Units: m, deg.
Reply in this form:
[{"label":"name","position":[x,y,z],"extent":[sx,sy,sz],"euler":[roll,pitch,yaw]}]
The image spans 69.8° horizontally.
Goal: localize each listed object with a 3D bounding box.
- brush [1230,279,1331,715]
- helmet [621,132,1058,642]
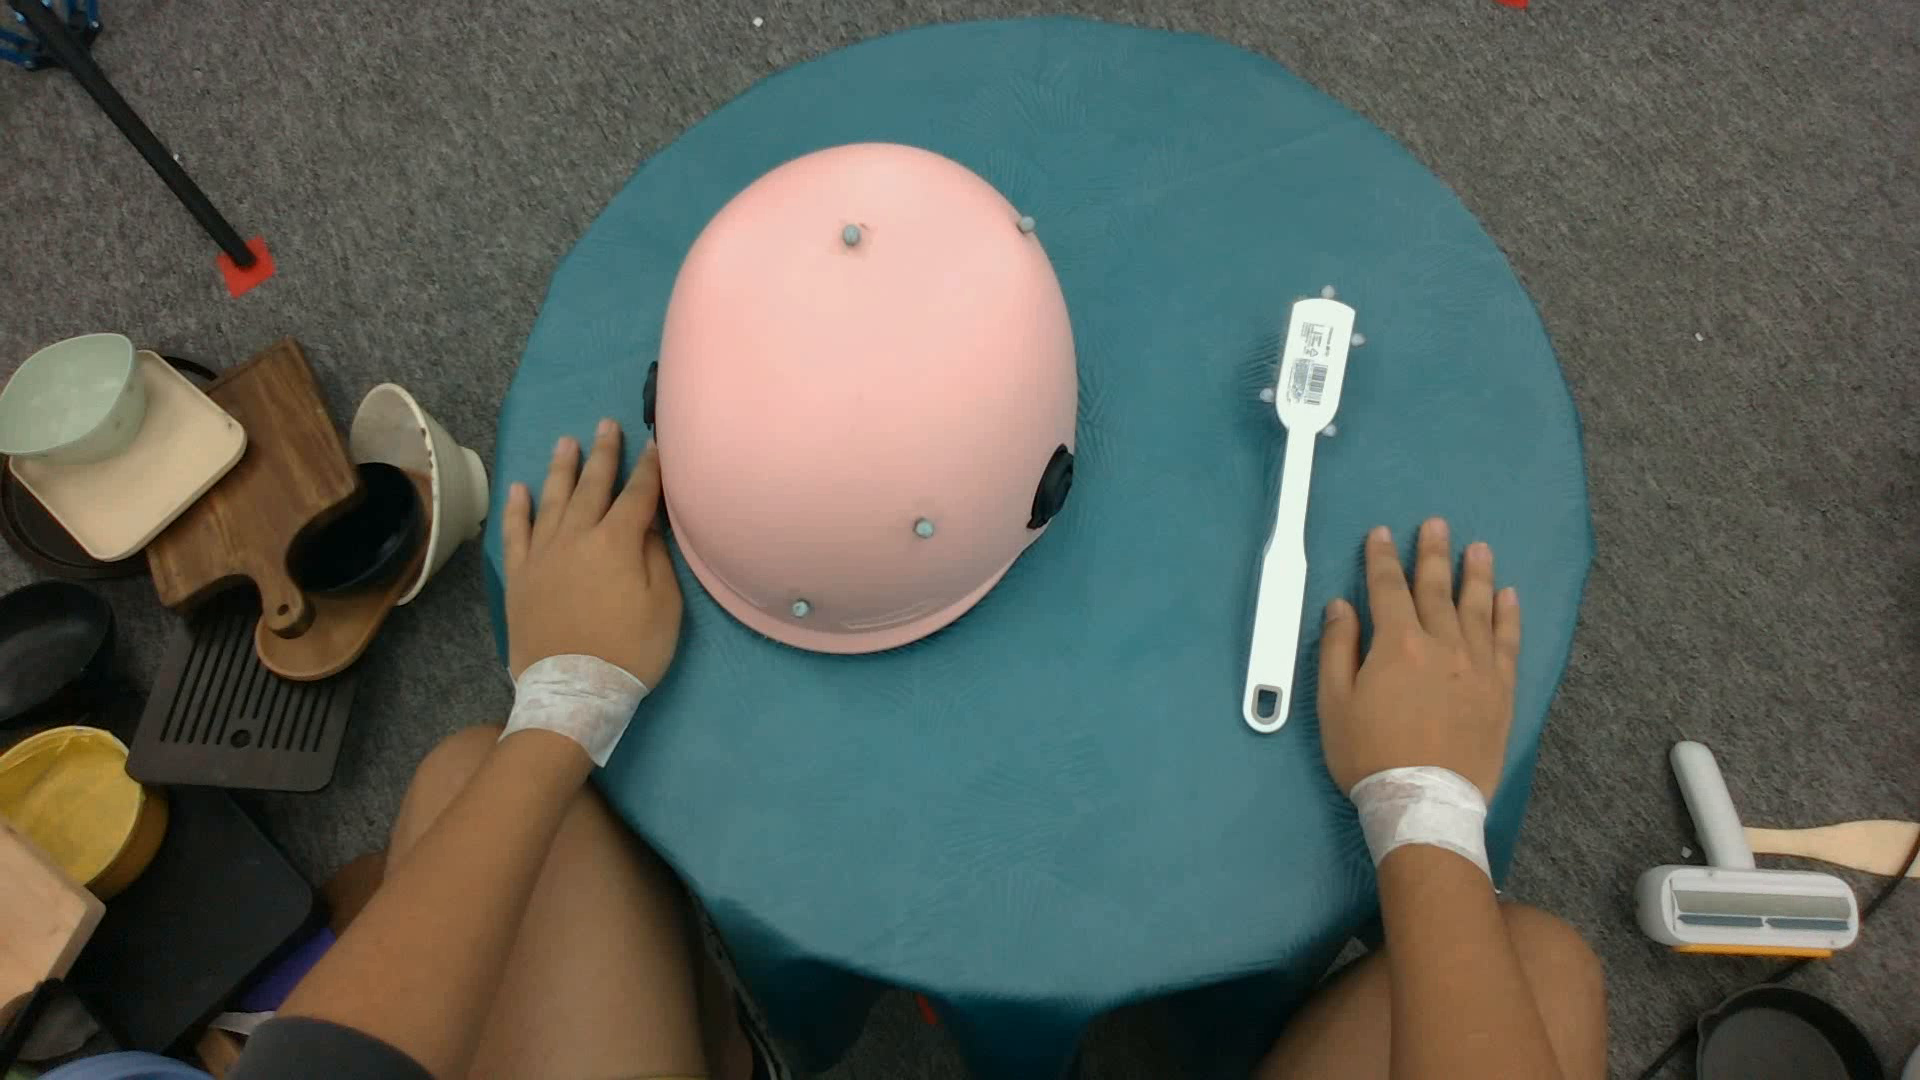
[{"label":"brush","position":[0.169,-0.026,0.740],"extent":[0.034,0.050,0.244],"euler":[7,81,7]},{"label":"helmet","position":[-0.060,-0.093,0.693],"extent":[0.234,0.158,0.267],"euler":[12,72,3]}]
